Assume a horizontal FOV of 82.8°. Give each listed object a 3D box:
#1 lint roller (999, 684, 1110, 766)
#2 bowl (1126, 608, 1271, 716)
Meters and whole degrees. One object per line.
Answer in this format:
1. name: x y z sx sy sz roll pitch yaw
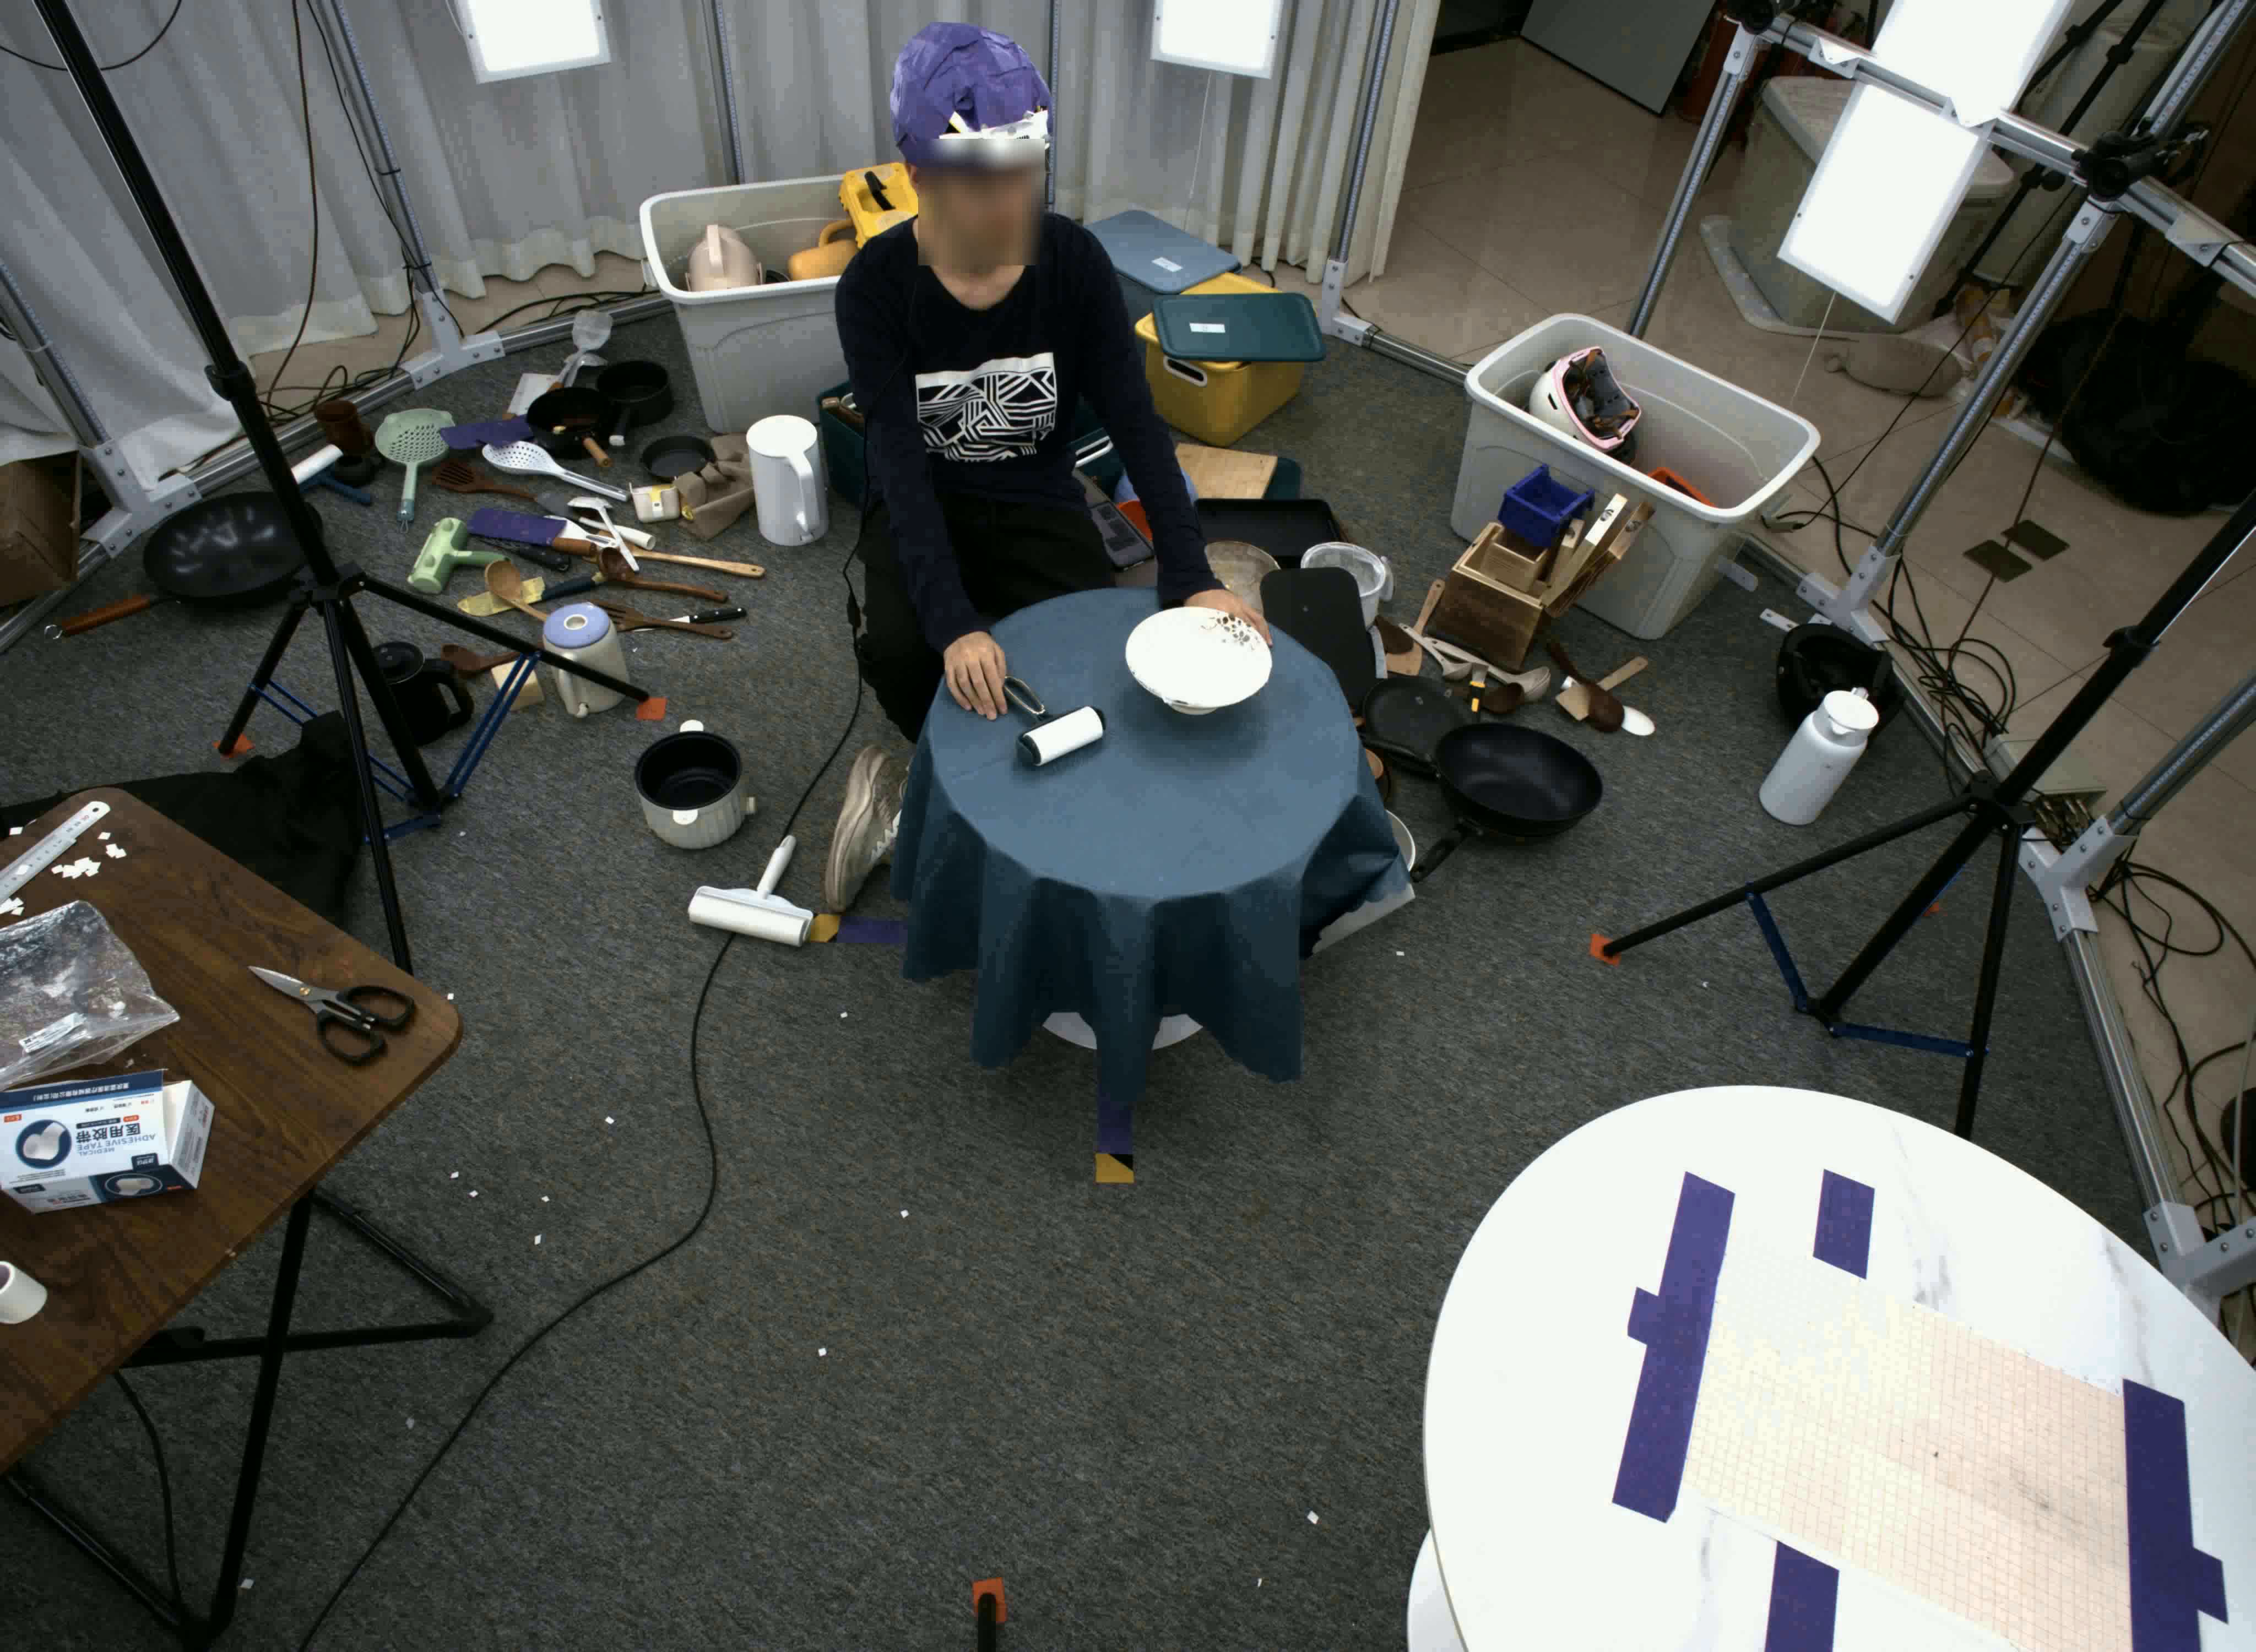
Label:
1. lint roller: -0.127 -0.162 1.775 0.135 0.047 0.184 -26 51 -24
2. bowl: 0.096 -0.213 1.809 0.204 0.076 0.209 2 47 -3
